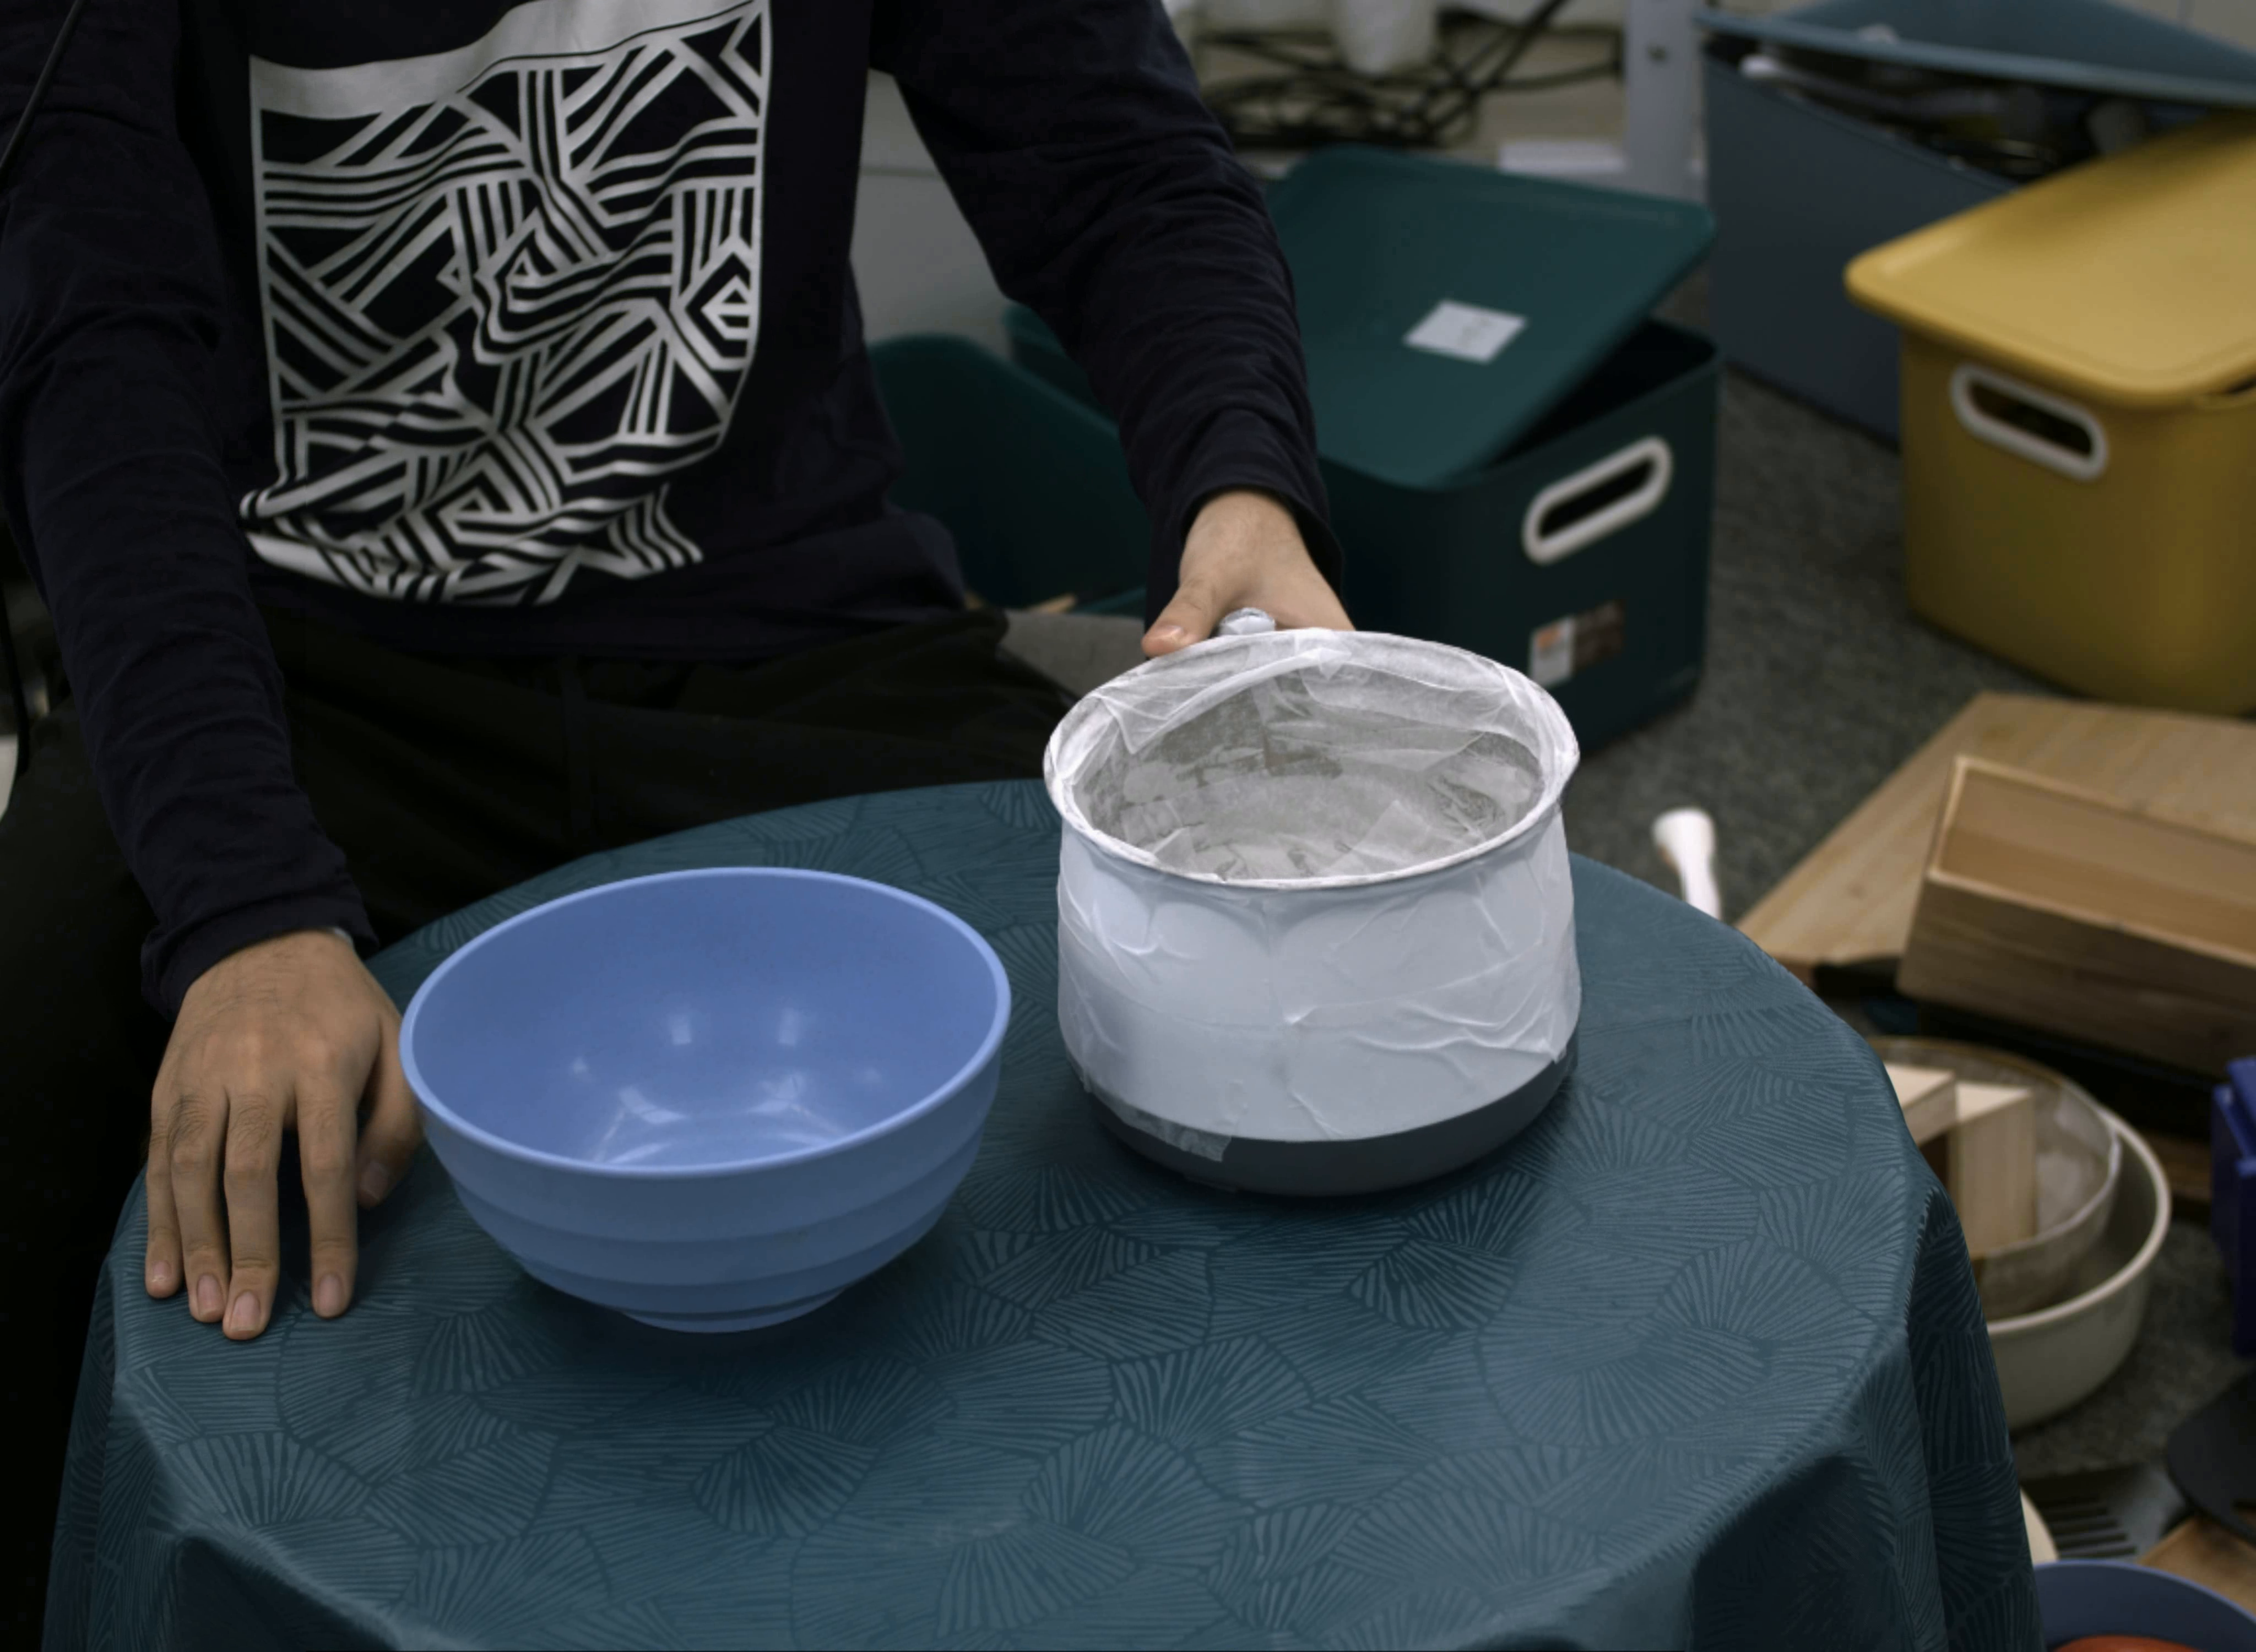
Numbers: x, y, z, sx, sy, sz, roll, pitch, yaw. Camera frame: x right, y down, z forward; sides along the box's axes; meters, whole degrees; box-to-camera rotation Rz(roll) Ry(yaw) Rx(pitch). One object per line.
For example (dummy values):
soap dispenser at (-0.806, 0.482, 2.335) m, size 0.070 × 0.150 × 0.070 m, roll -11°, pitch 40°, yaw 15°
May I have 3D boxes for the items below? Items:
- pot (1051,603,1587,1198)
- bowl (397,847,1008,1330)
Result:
pot at (0.057, 0.018, 1.906) m, size 0.178 × 0.135 × 0.236 m, roll -6°, pitch 29°, yaw -11°
bowl at (-0.132, 0.097, 1.812) m, size 0.195 × 0.094 × 0.200 m, roll -3°, pitch 31°, yaw 2°
